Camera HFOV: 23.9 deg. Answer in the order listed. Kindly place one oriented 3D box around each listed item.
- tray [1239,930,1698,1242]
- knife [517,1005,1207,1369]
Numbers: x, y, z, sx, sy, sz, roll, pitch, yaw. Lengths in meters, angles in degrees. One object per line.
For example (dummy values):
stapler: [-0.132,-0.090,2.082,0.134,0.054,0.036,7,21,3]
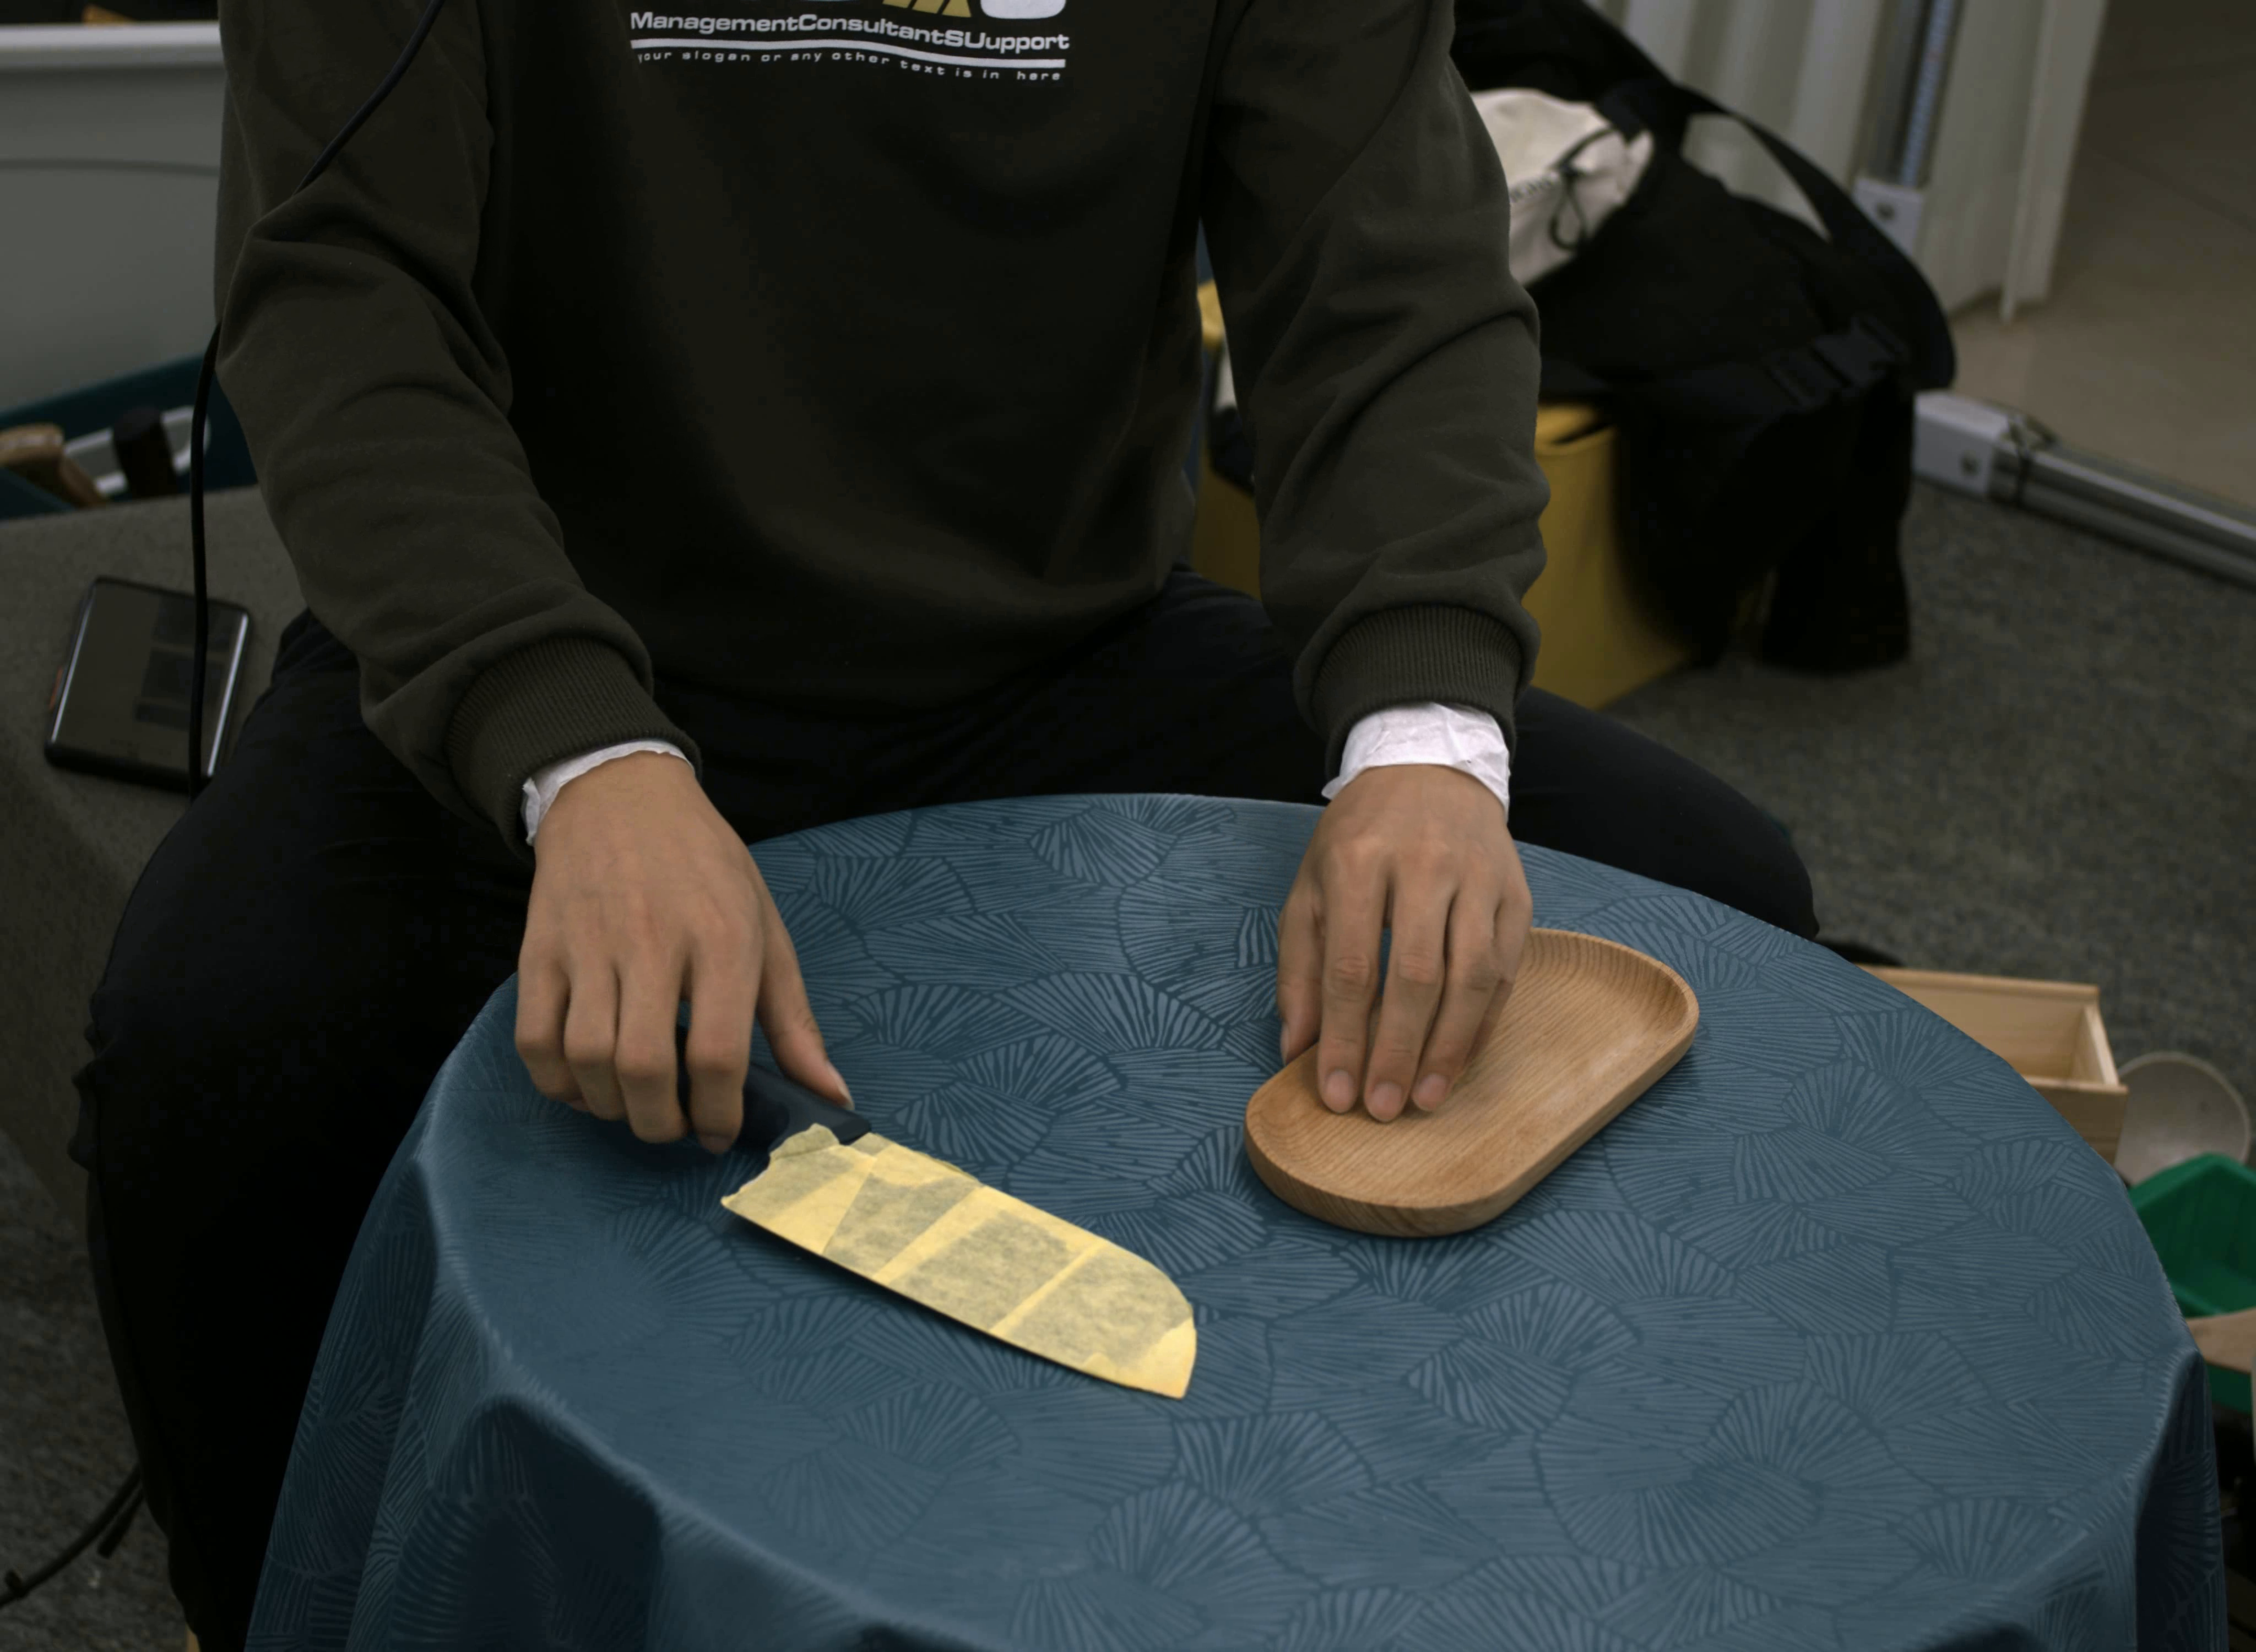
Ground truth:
tray: [0.122,0.090,1.881,0.102,0.020,0.231,19,31,26]
knife: [-0.096,0.122,1.772,0.291,0.027,0.081,23,29,27]
